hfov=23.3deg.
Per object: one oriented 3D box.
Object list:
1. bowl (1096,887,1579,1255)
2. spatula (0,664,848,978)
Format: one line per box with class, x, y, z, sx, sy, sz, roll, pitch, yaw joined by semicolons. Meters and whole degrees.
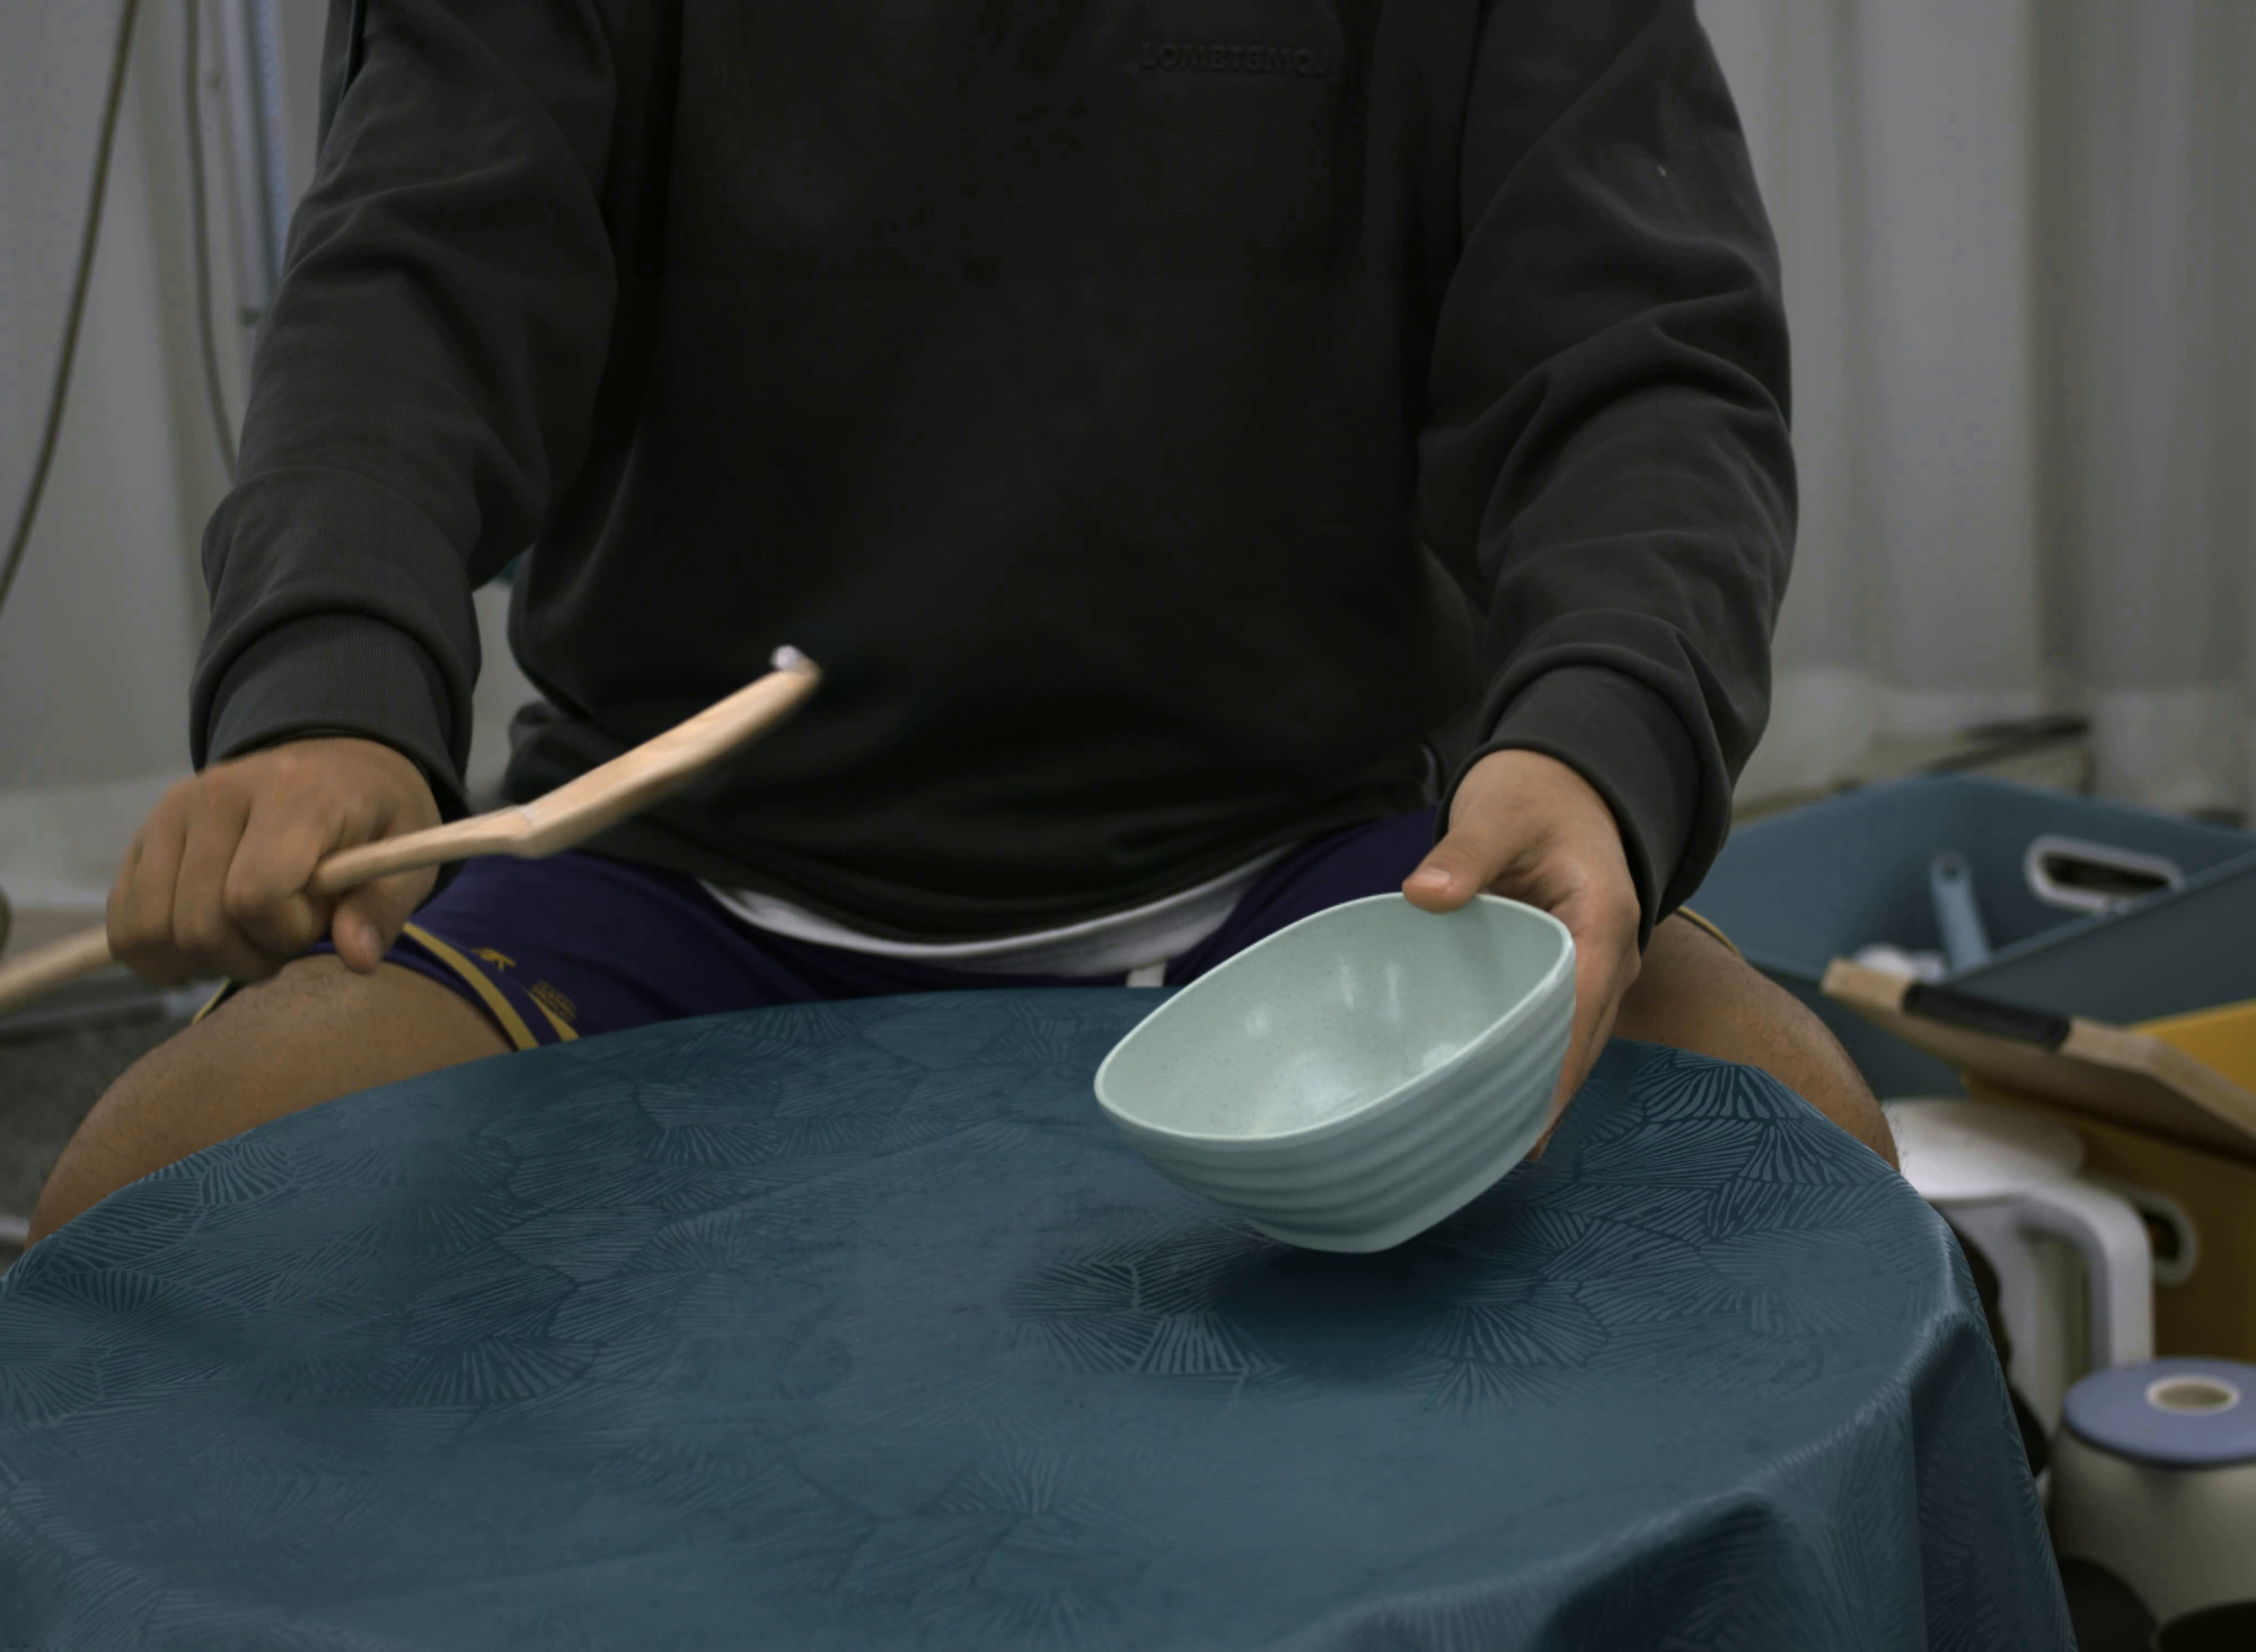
bowl;0.070;0.079;1.632;0.151;0.058;0.153;-19;22;7
spatula;-0.240;0.014;1.612;0.390;0.018;0.096;-14;15;35
